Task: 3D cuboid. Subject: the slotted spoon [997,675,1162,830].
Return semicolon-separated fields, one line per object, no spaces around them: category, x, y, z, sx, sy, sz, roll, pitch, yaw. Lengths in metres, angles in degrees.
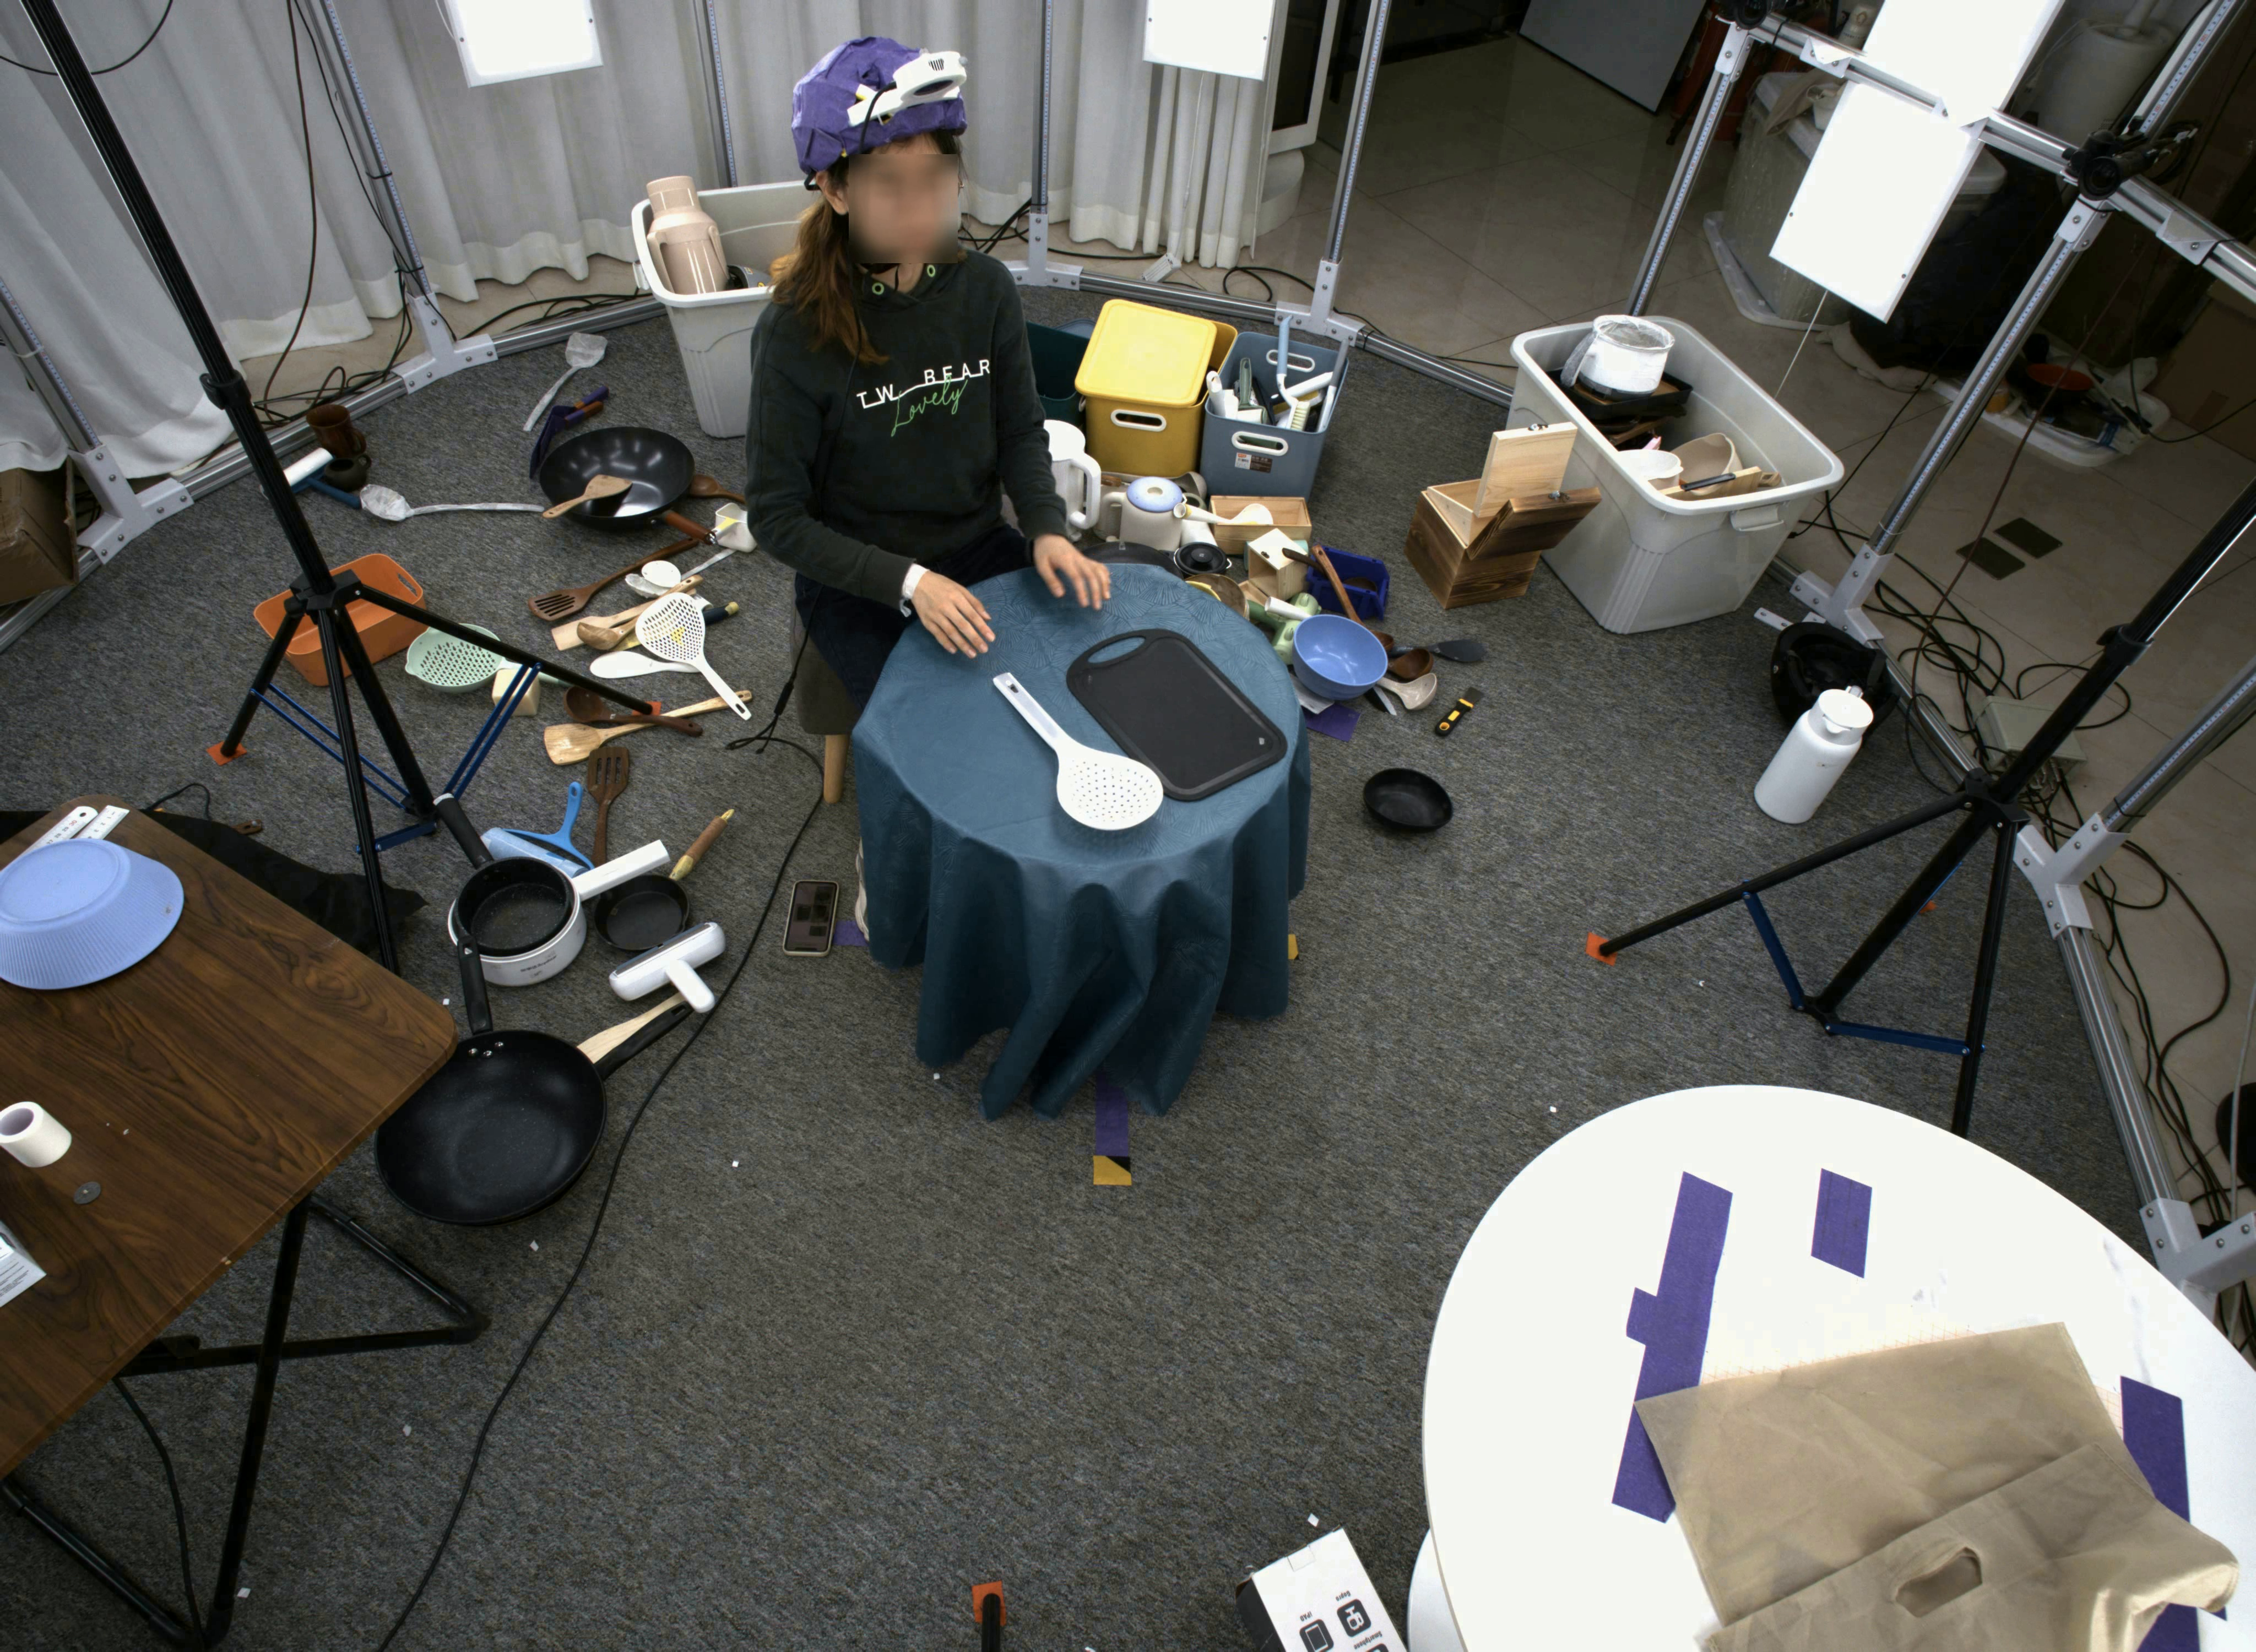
slotted spoon;-0.083;-0.105;1.740;0.136;0.044;0.357;-22;53;-25

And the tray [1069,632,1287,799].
tray;0.063;-0.170;1.832;0.212;0.009;0.332;-25;54;-24
